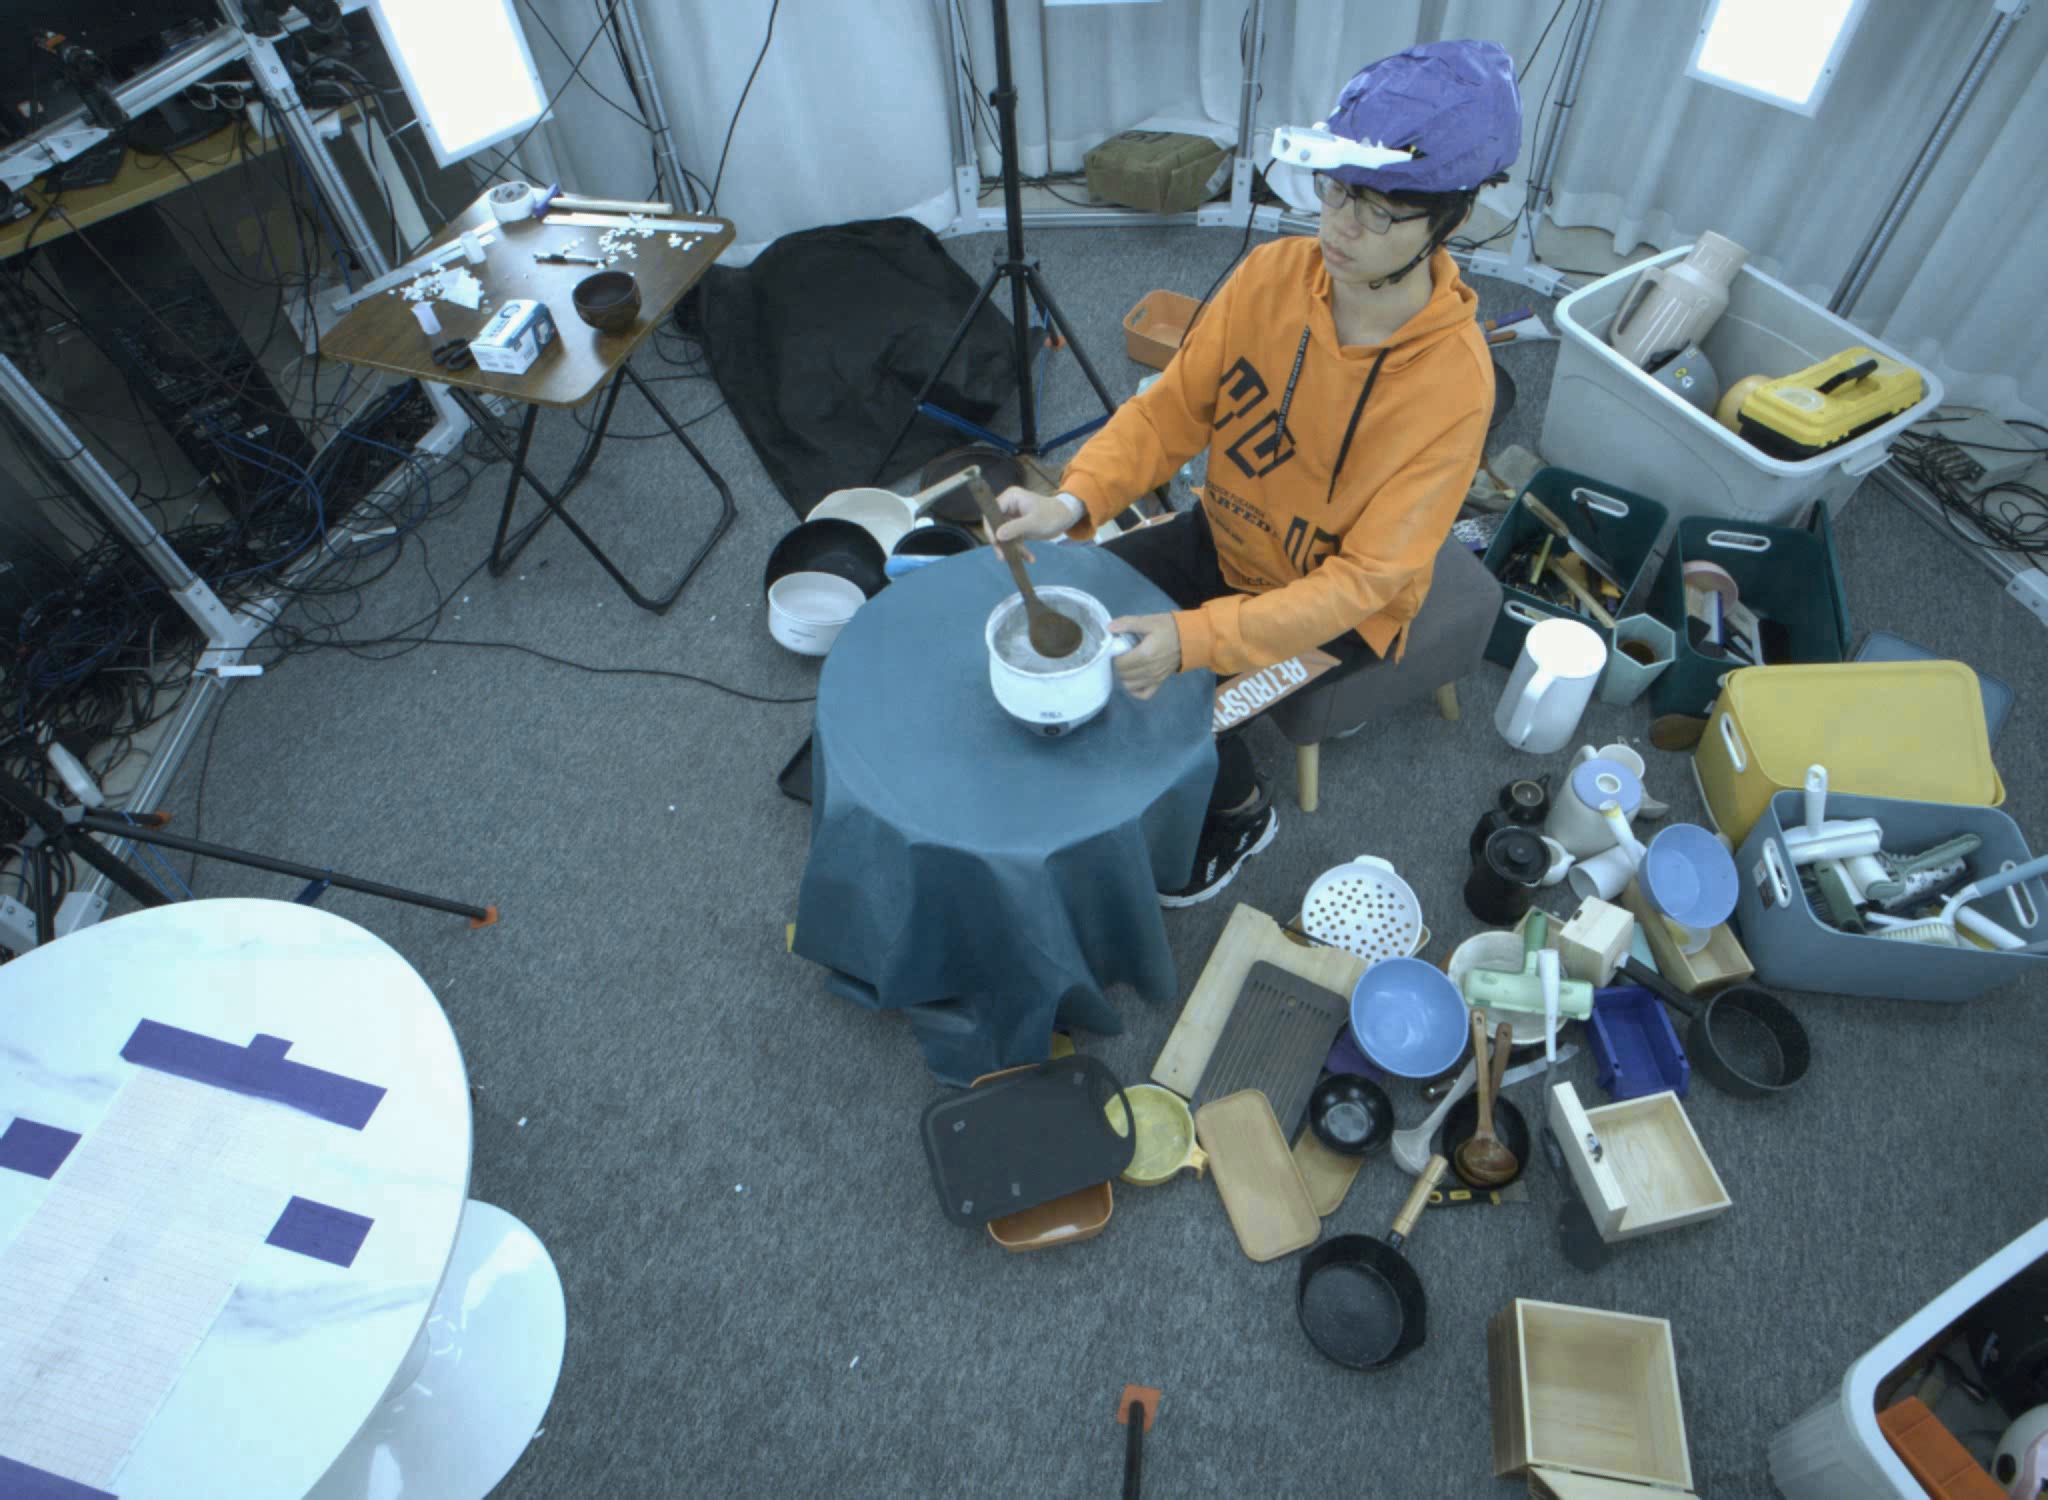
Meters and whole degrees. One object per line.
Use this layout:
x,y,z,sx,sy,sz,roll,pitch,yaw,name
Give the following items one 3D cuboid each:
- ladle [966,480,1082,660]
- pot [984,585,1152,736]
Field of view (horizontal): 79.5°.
-0.003,-0.252,1.685,0.077,0.070,0.276,-30,102,-23,ladle
0.065,-0.128,1.751,0.233,0.138,0.177,-2,53,2,pot
